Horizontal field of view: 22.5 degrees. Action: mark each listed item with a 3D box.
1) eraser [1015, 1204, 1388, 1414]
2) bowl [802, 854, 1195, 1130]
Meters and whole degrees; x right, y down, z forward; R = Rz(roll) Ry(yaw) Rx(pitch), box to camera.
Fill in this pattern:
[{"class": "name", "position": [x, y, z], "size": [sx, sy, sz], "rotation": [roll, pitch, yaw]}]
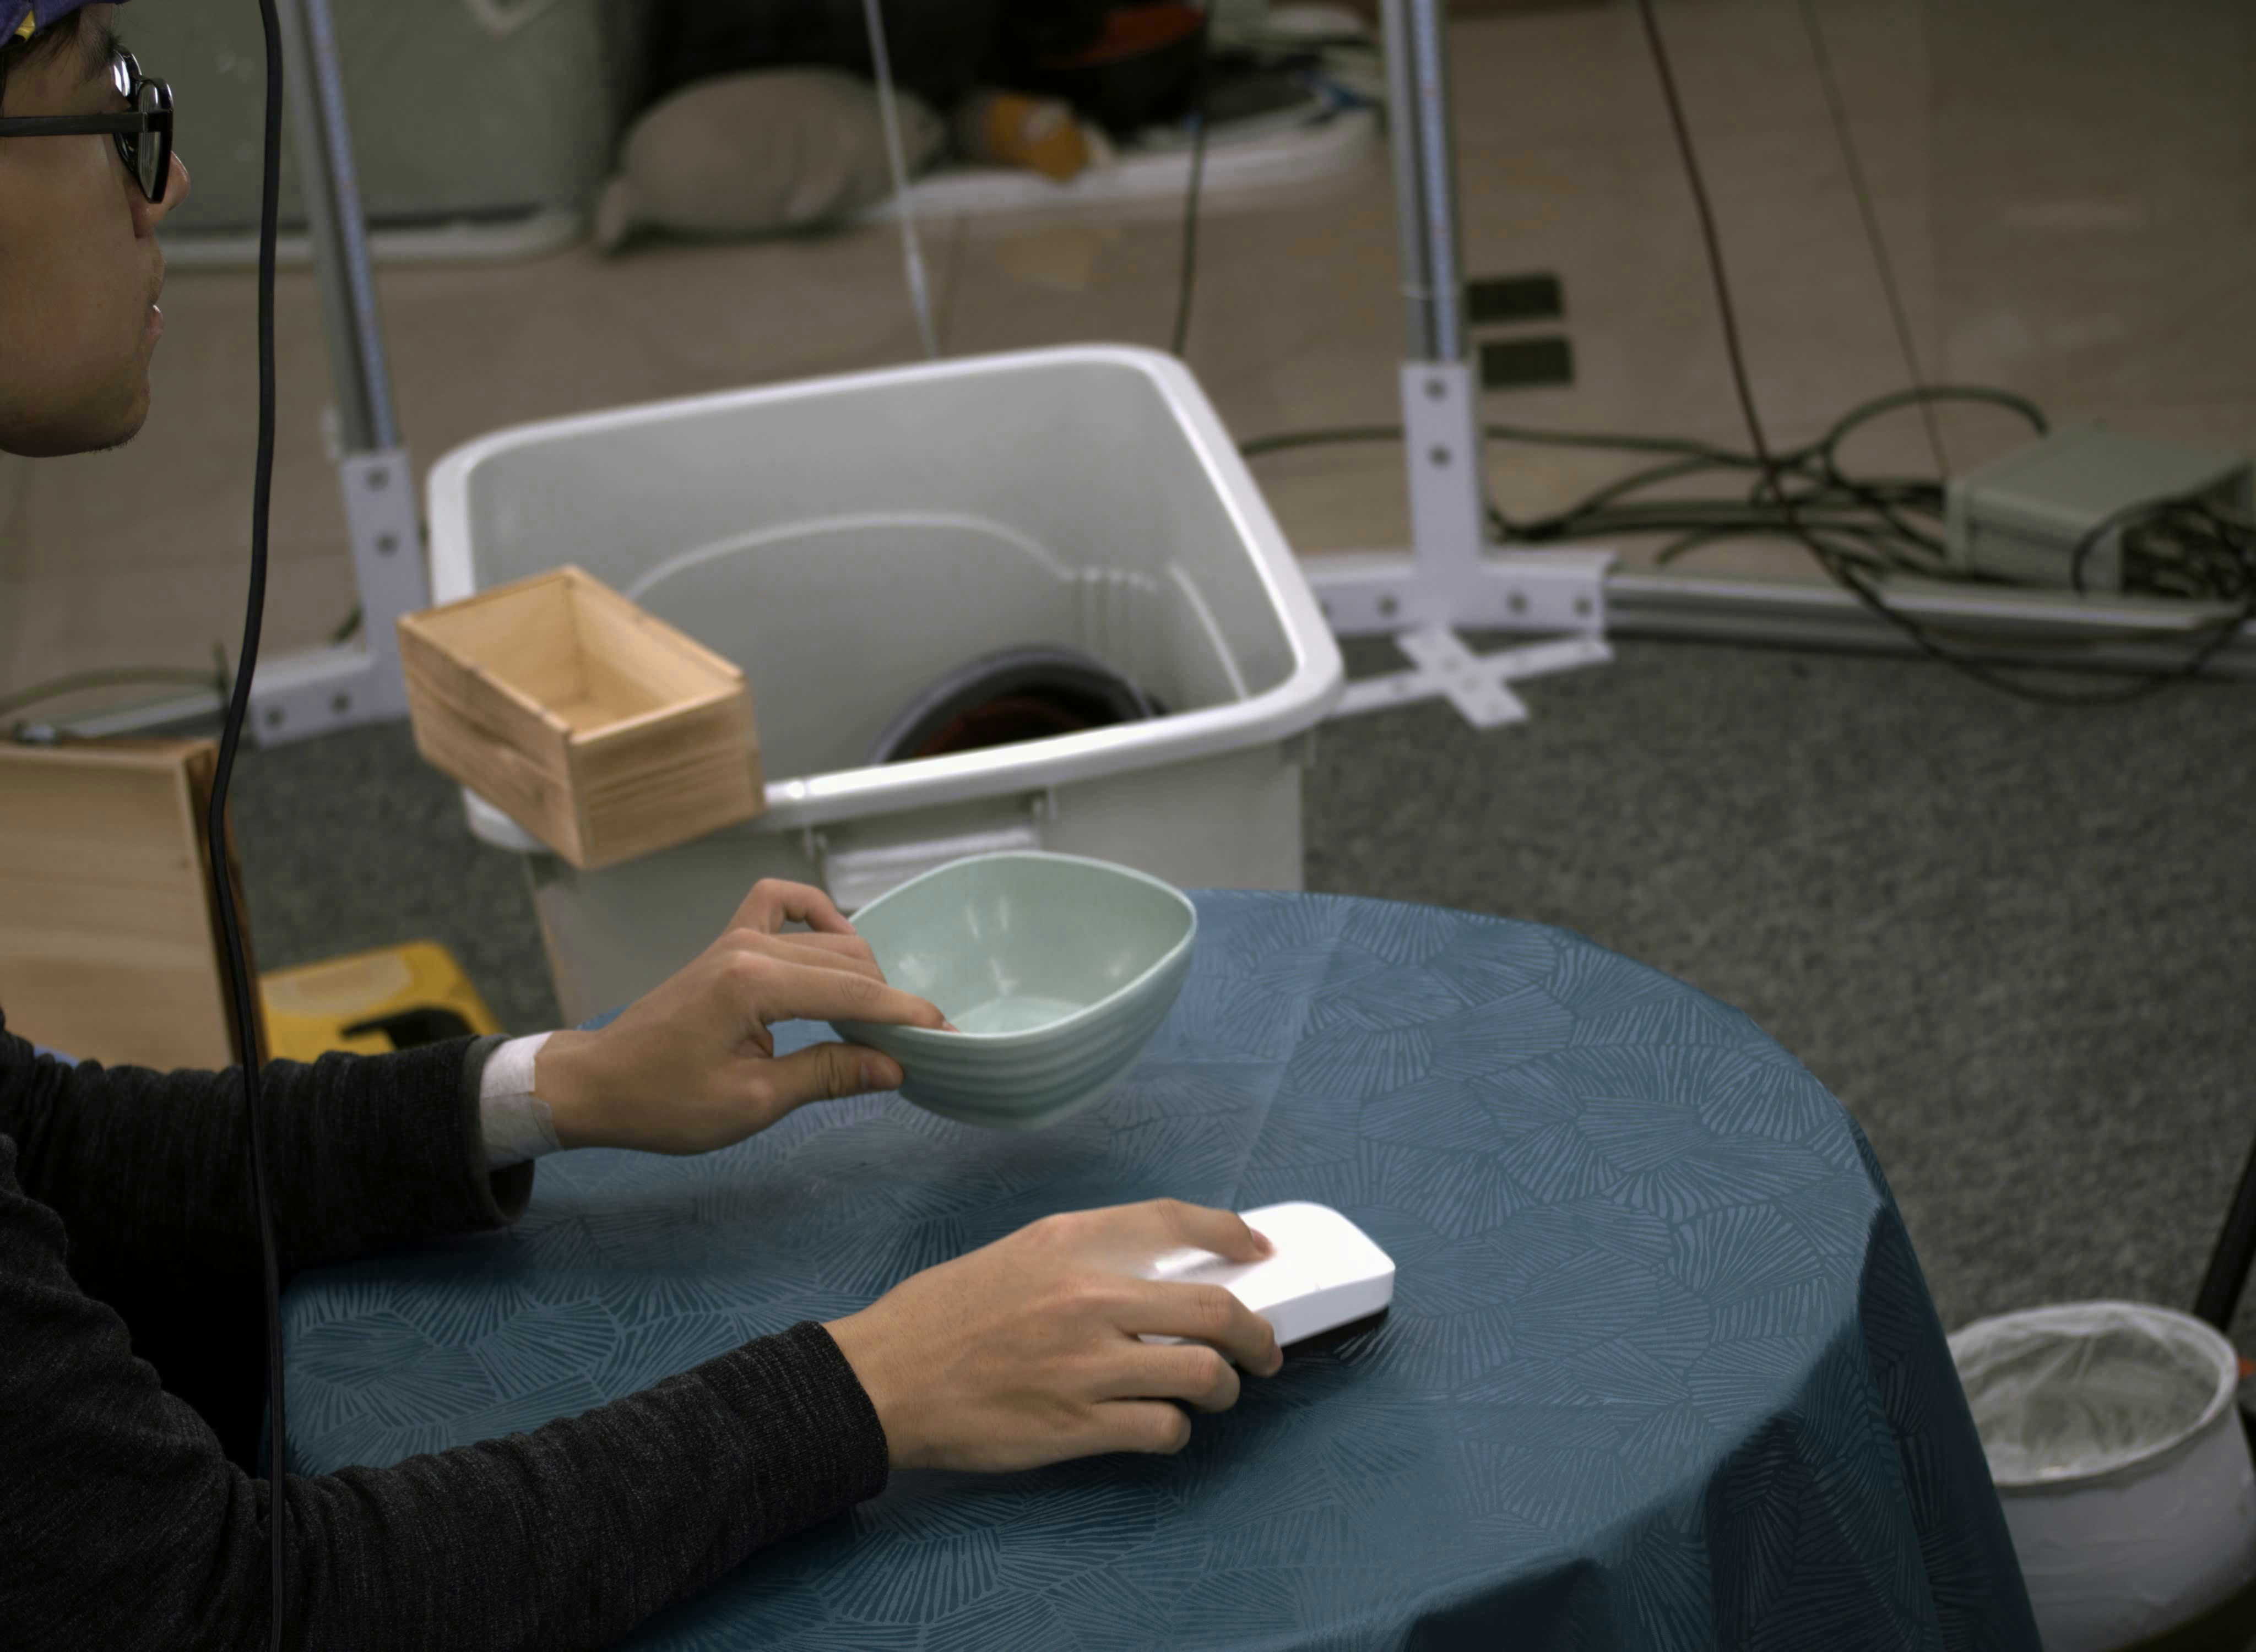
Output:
[{"class": "eraser", "position": [0.026, 0.167, 2.005], "size": [0.130, 0.035, 0.062], "rotation": [-16, 29, -26]}, {"class": "bowl", "position": [-0.046, 0.069, 2.173], "size": [0.151, 0.059, 0.149], "rotation": [-6, 26, 3]}]
